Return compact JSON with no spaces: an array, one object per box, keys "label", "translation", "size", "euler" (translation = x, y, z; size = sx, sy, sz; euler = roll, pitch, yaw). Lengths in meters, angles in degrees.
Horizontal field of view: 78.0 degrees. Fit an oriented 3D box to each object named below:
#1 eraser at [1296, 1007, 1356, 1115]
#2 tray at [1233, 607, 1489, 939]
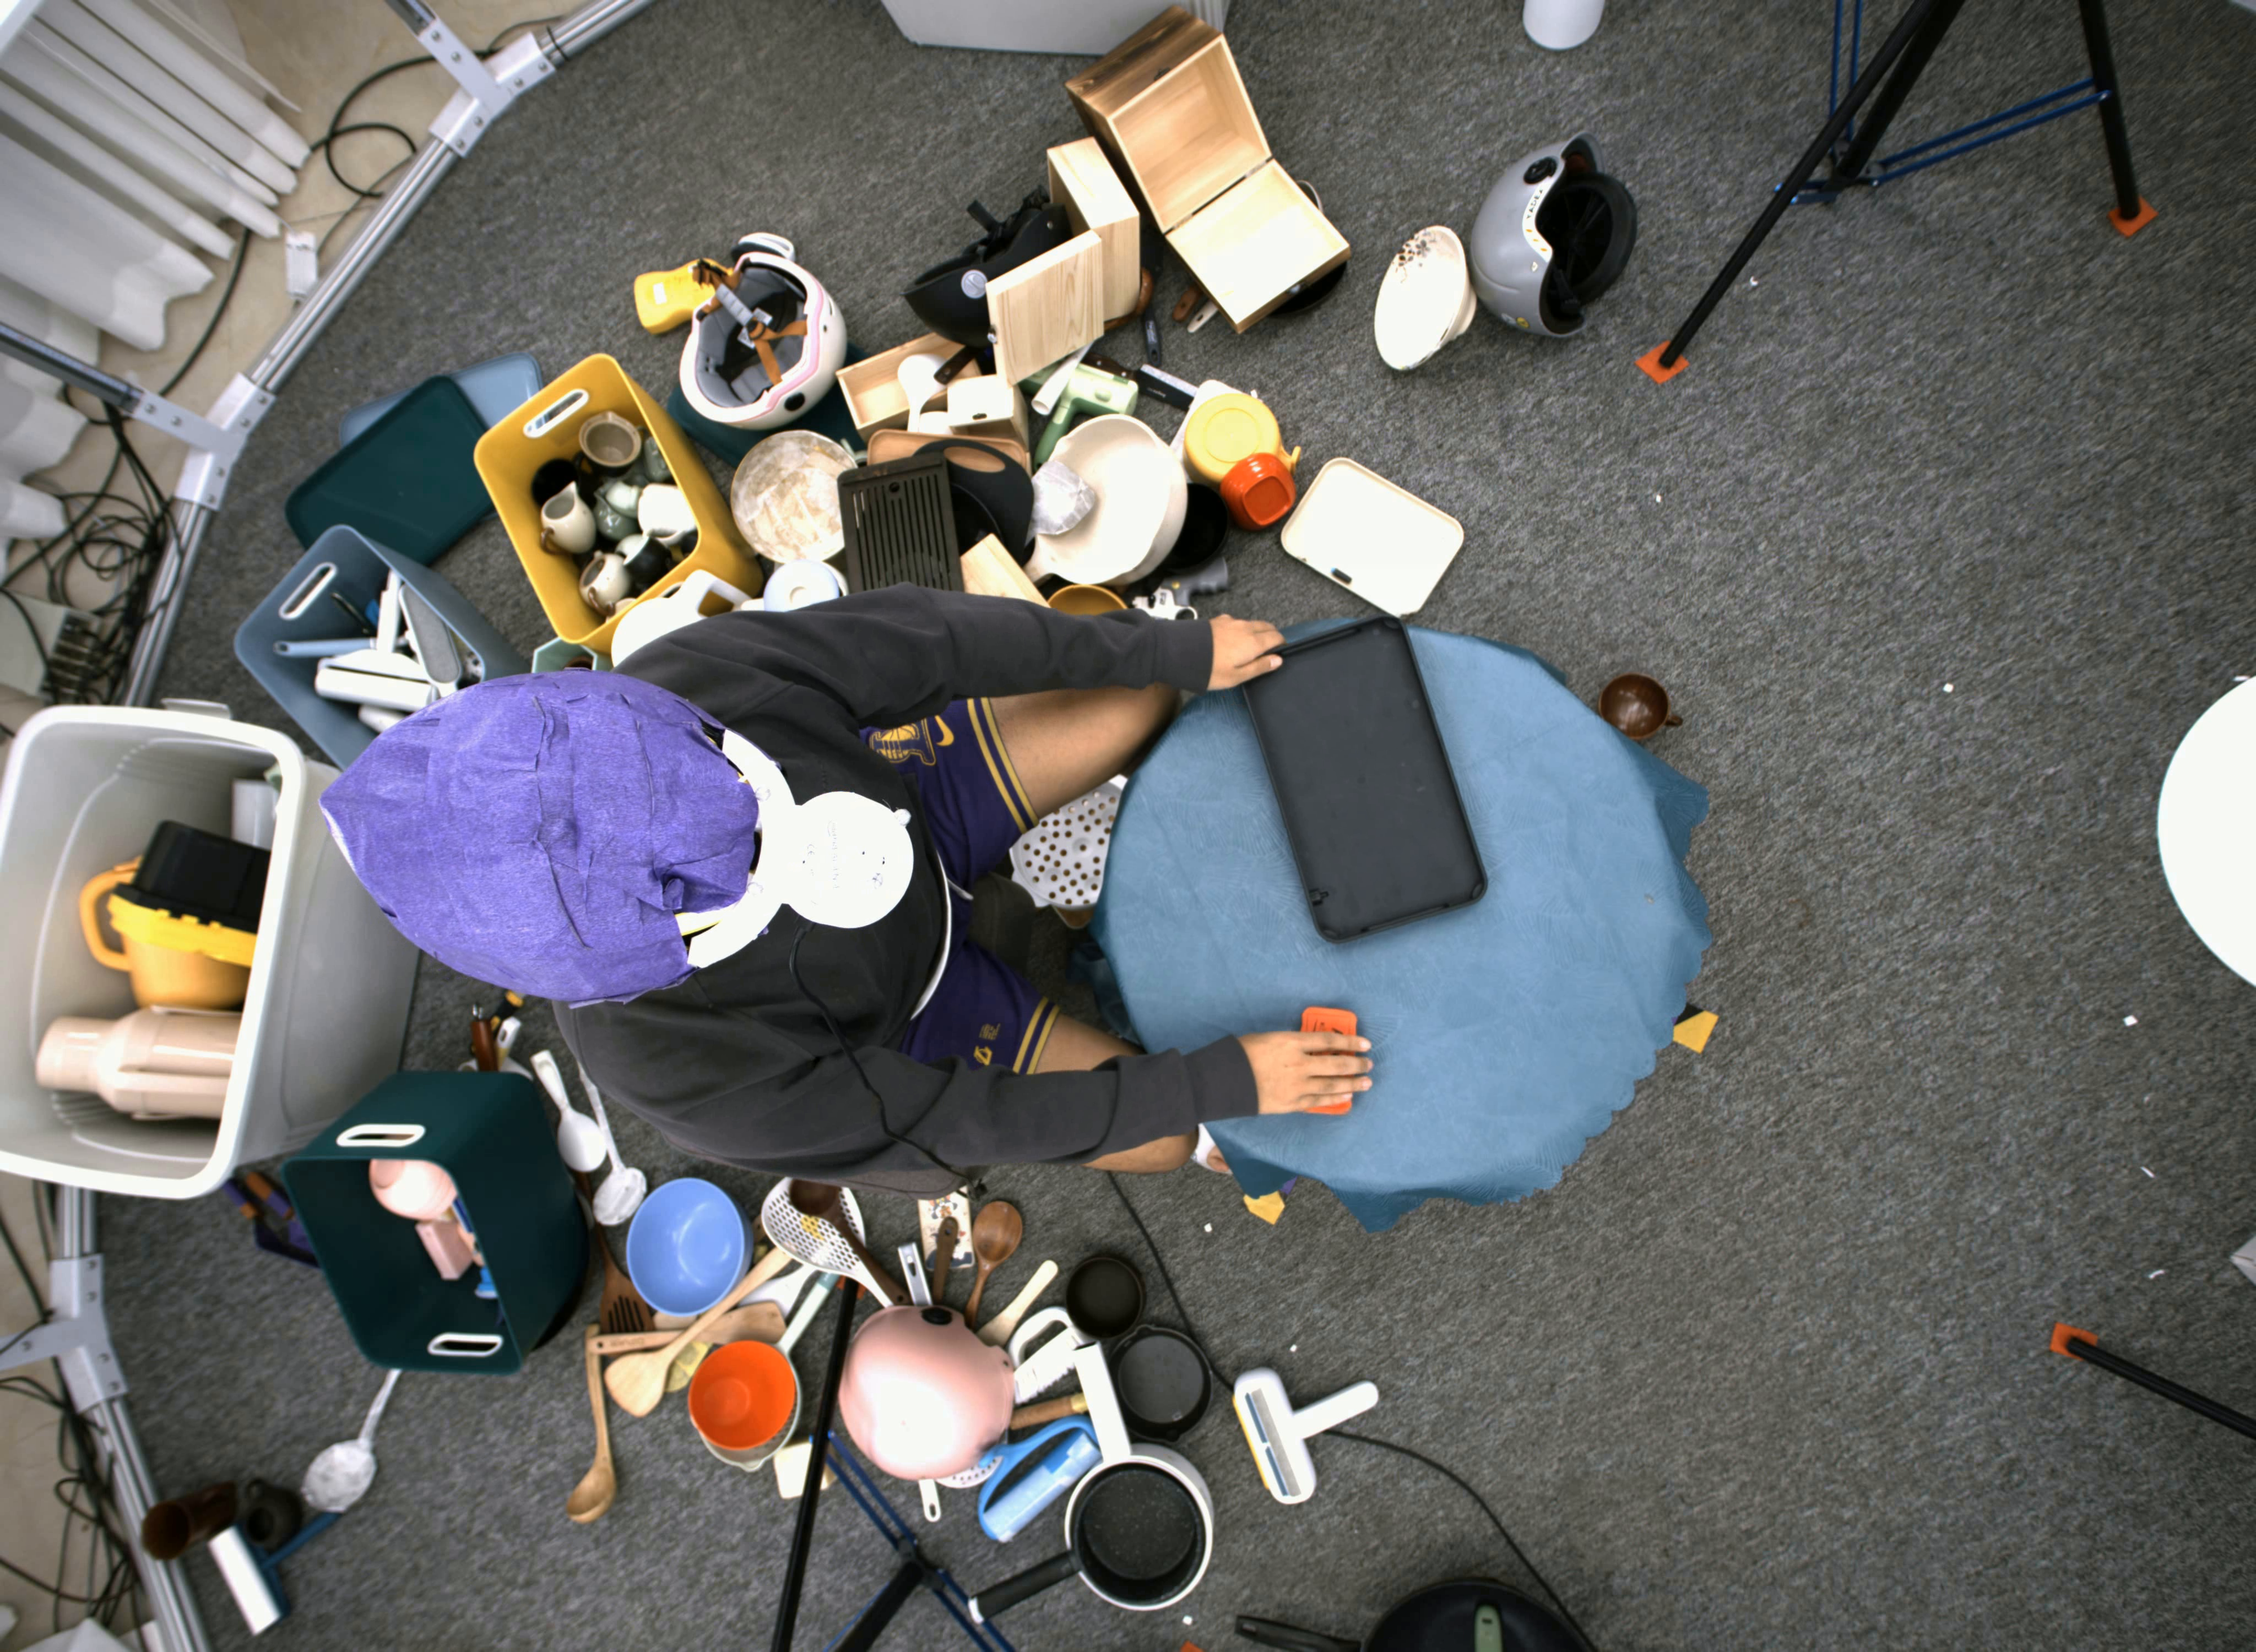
[{"label":"eraser","translation":[0.207,0.243,1.446],"size":[0.059,0.023,0.108],"euler":[3,89,19]},{"label":"tray","translation":[0.243,-0.056,1.444],"size":[0.185,0.037,0.317],"euler":[-19,88,10]}]
